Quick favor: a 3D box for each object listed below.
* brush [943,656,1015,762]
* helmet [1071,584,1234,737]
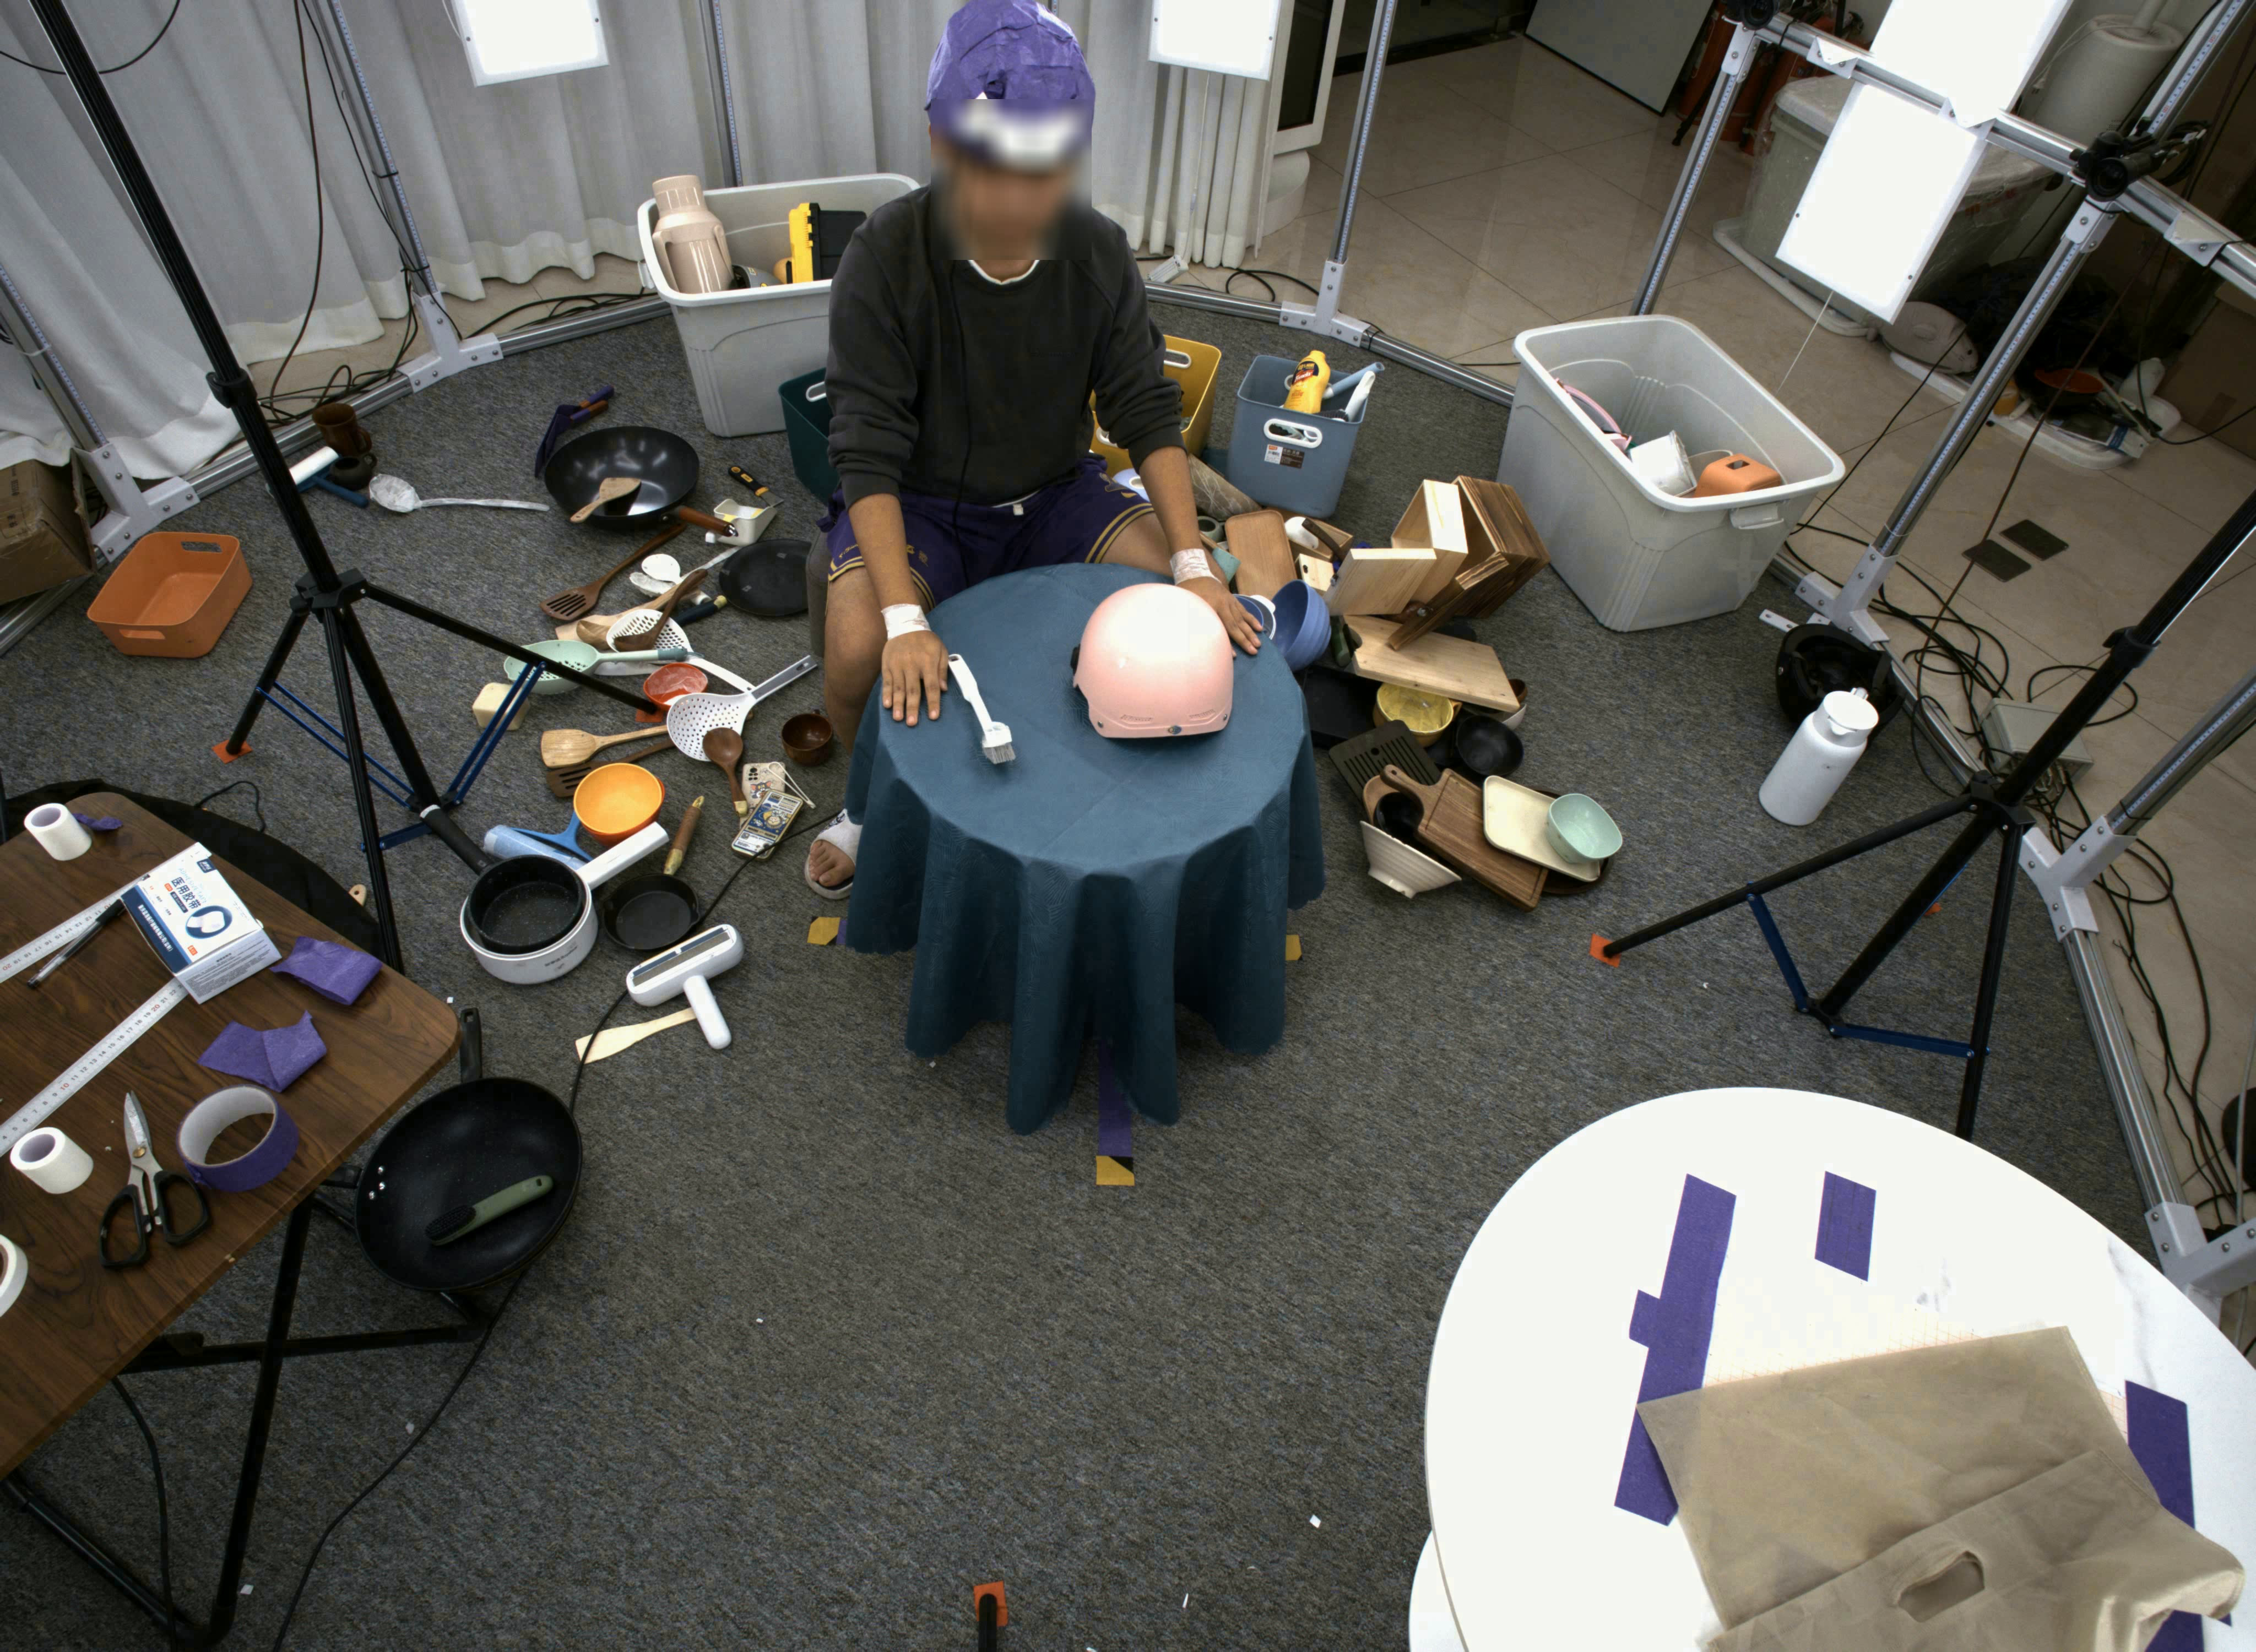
[{"bbox_3d":[-0.208,-0.162,1.778,0.034,0.049,0.249,-18,39,-15],"label":"brush"},{"bbox_3d":[0.039,-0.252,1.791,0.234,0.155,0.273,-6,45,-8],"label":"helmet"}]
